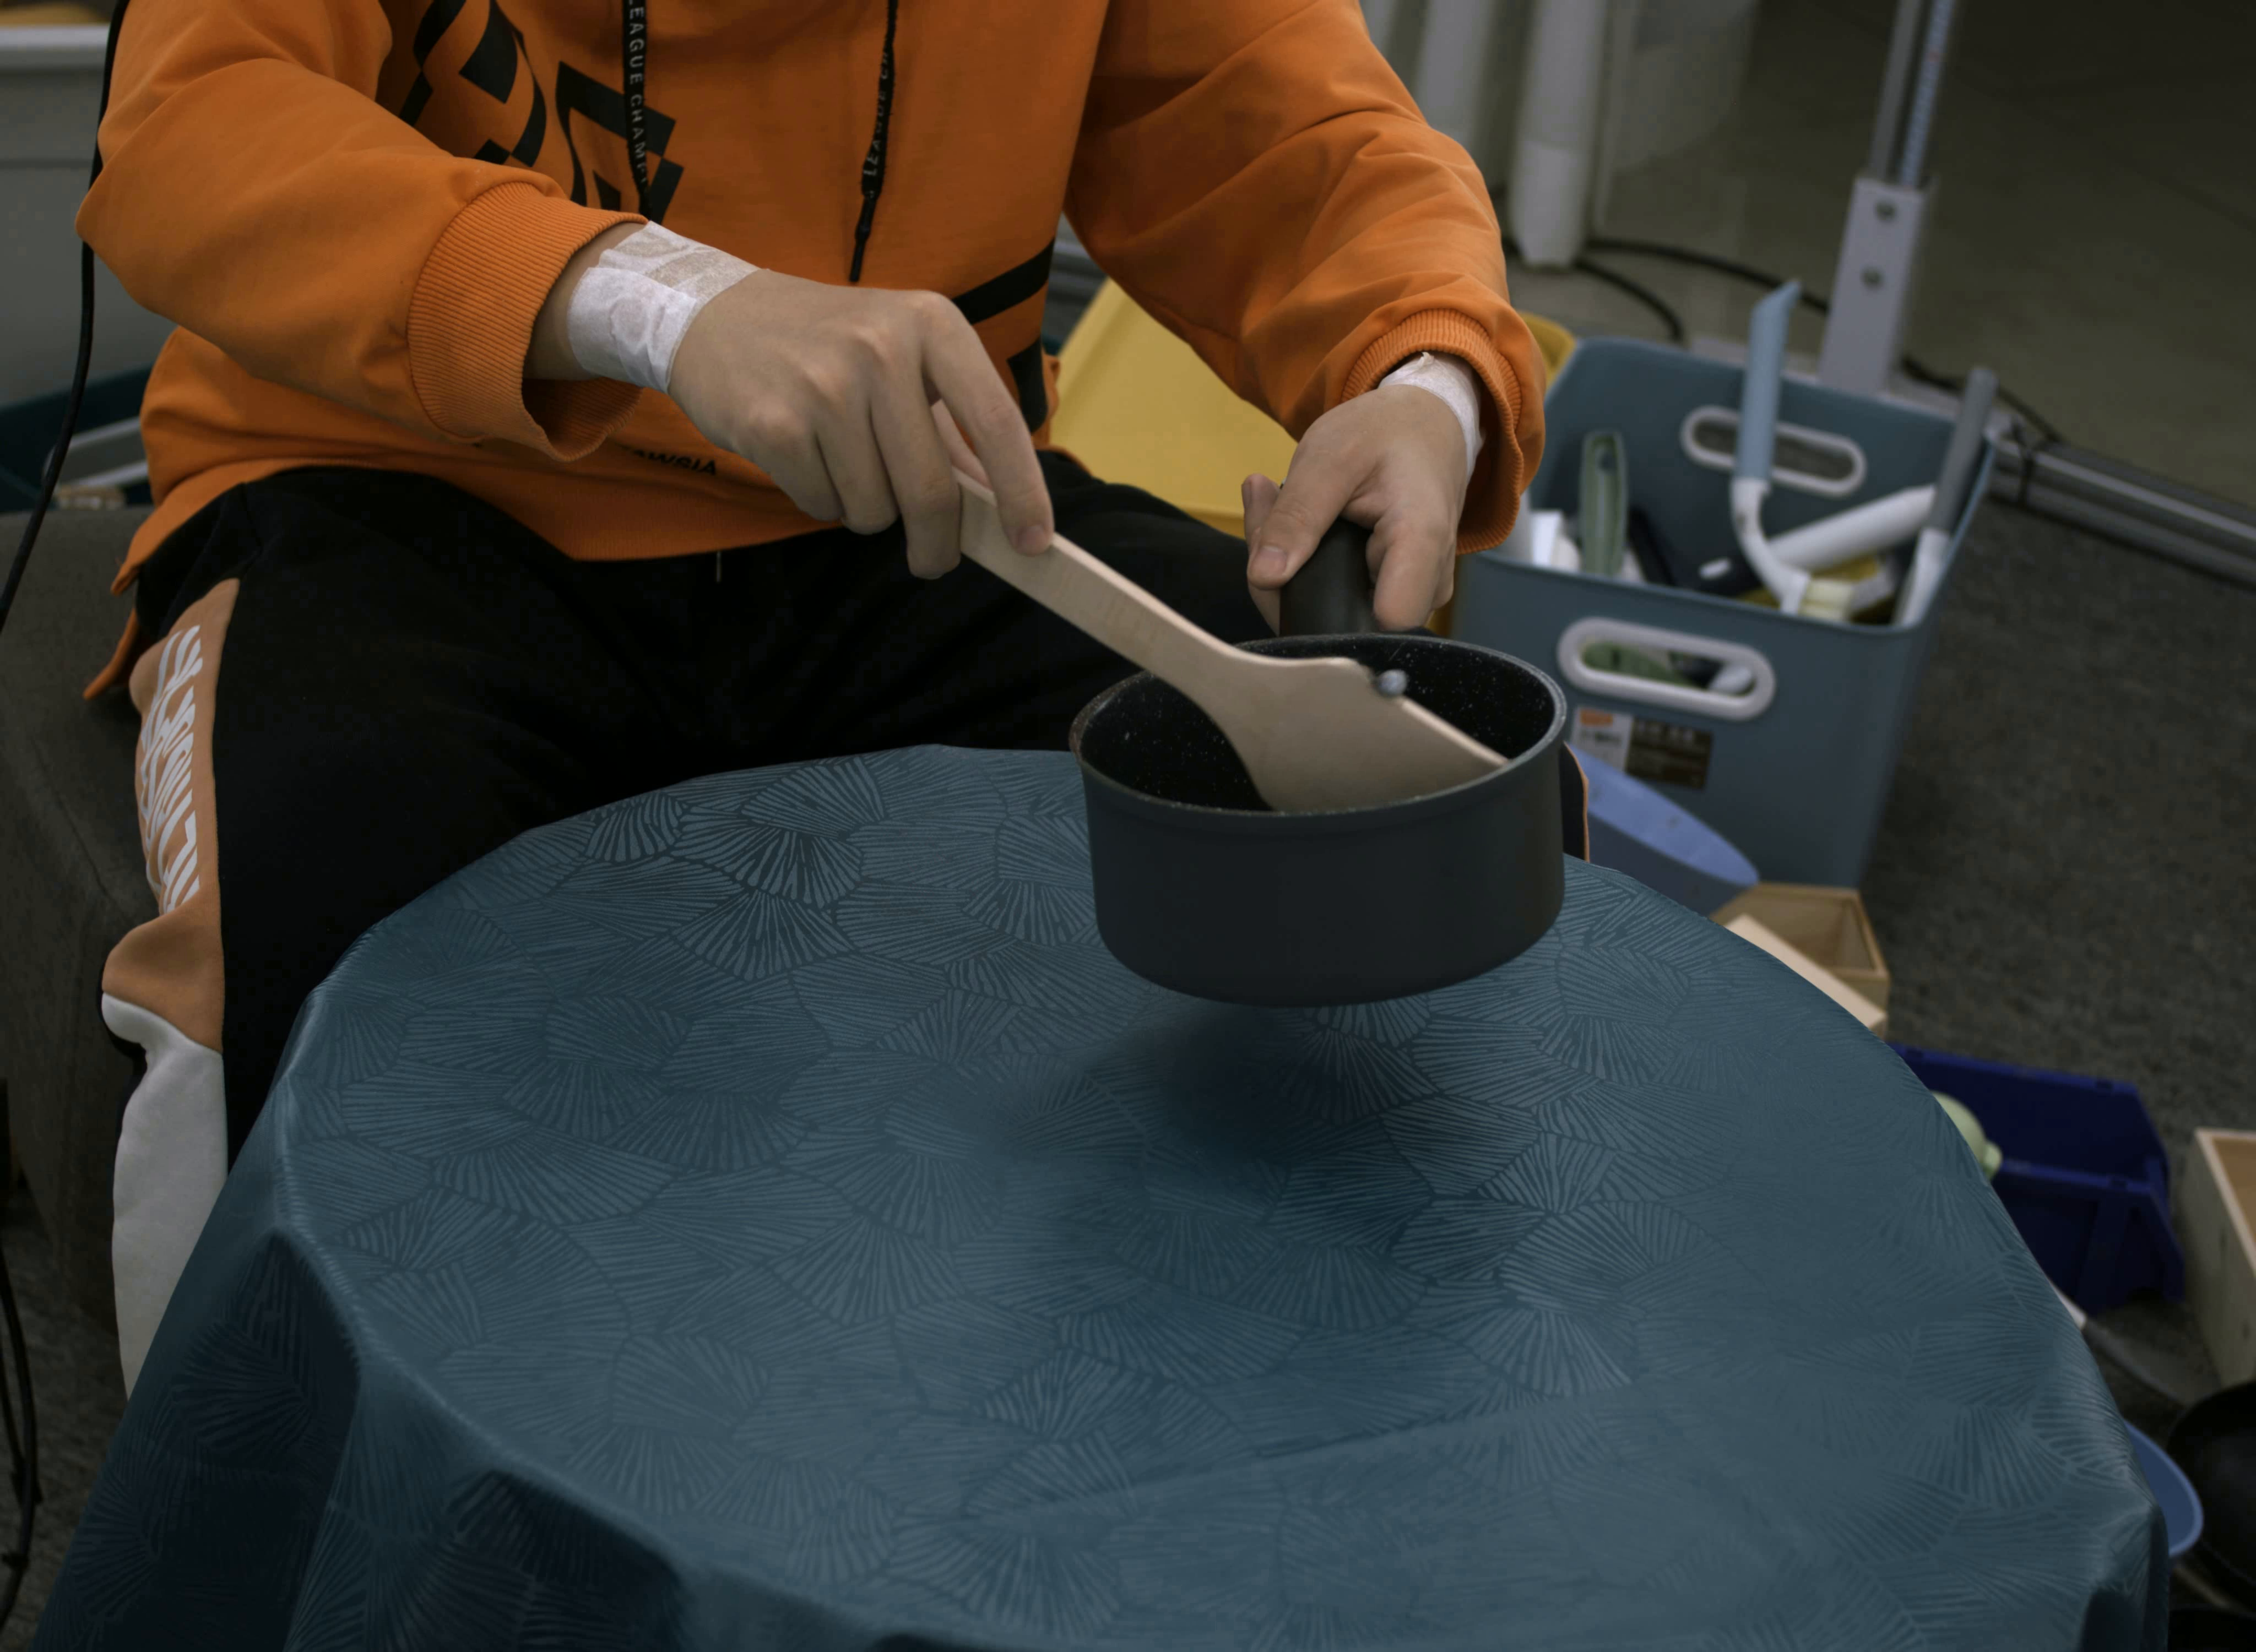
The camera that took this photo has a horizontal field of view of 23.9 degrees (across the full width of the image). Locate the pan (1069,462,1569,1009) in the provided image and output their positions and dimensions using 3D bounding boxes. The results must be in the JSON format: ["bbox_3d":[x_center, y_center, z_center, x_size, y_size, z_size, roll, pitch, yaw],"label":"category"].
[{"bbox_3d":[0.074,-0.035,1.907,0.172,0.086,0.330,-1,23,6],"label":"pan"}]

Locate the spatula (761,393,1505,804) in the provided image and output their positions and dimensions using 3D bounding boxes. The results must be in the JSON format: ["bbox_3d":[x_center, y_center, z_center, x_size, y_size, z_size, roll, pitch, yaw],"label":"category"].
[{"bbox_3d":[-0.004,-0.072,1.828,0.294,0.072,0.010,30,45,13],"label":"spatula"}]
